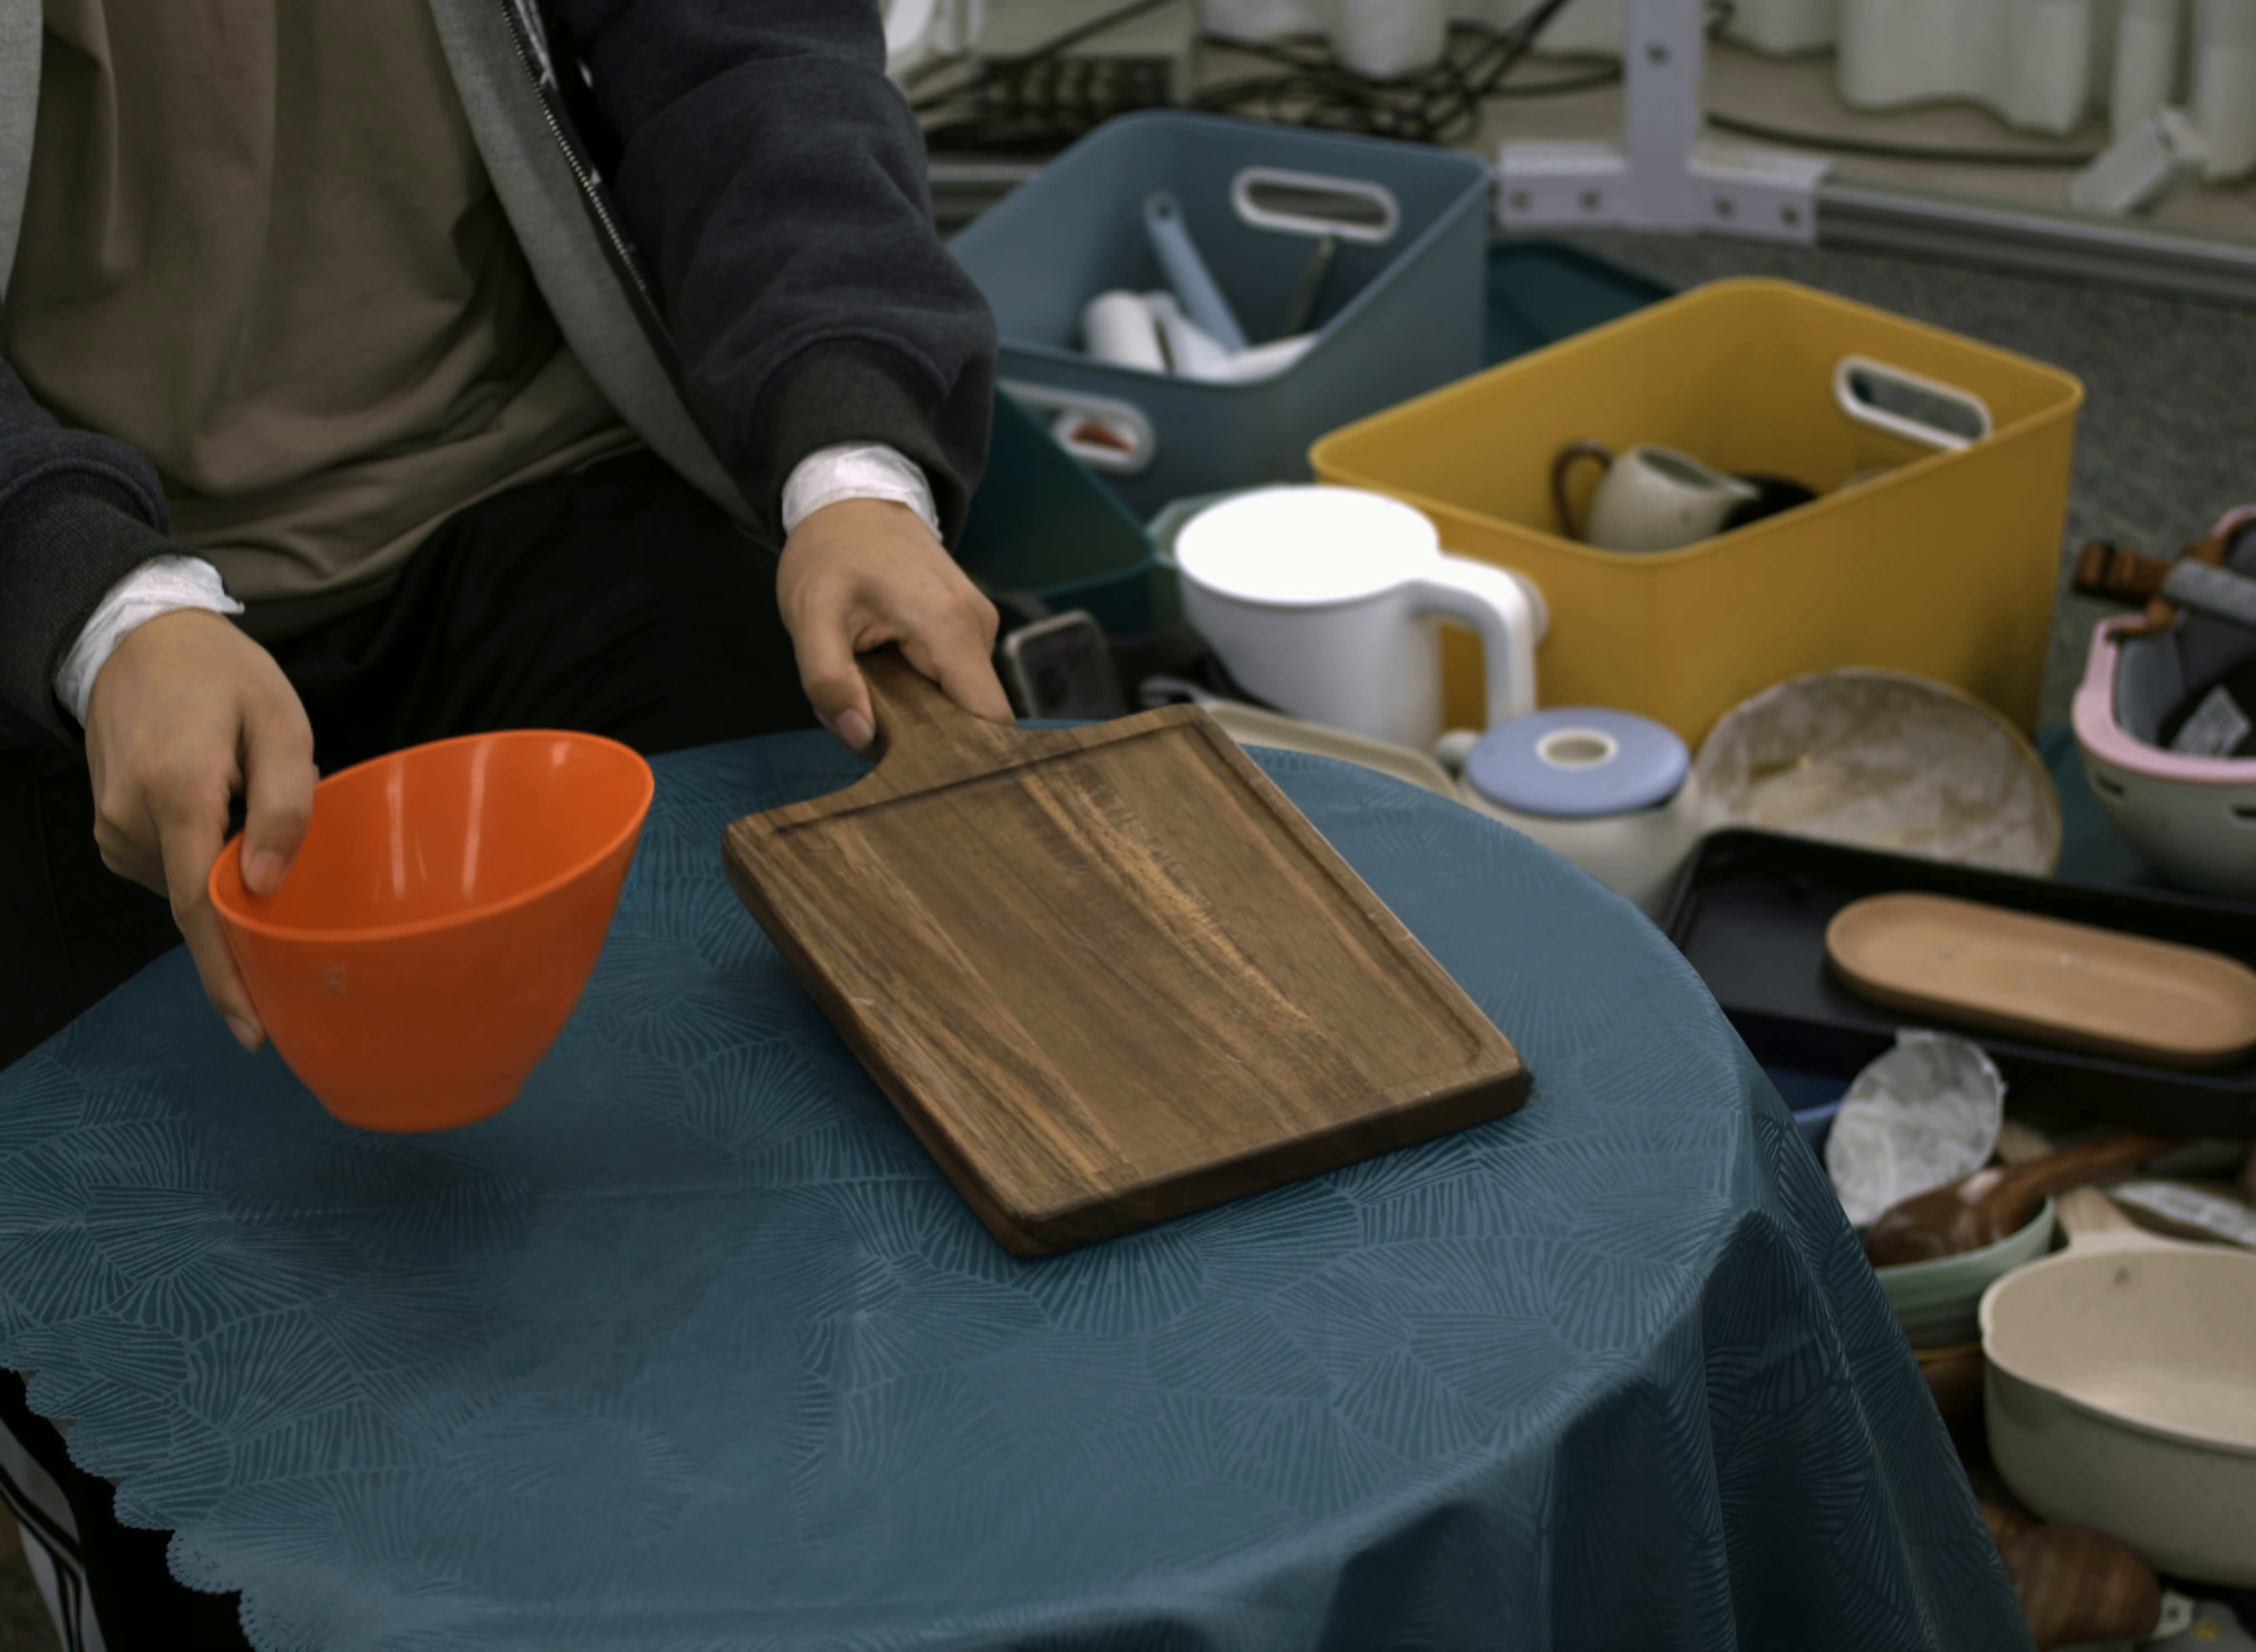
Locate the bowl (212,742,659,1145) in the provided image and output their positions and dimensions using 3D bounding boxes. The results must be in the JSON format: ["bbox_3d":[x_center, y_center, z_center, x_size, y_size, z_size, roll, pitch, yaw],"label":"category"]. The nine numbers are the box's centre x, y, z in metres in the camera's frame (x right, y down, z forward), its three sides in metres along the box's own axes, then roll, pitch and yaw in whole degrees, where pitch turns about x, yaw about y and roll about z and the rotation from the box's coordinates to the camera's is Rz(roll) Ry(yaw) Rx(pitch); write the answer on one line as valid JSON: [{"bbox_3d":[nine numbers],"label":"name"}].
[{"bbox_3d":[-0.224,0.043,1.851,0.147,0.104,0.150,-2,21,1],"label":"bowl"}]

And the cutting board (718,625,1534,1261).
[{"bbox_3d":[-0.026,0.022,1.983,0.202,0.023,0.355,-15,37,-23],"label":"cutting board"}]
